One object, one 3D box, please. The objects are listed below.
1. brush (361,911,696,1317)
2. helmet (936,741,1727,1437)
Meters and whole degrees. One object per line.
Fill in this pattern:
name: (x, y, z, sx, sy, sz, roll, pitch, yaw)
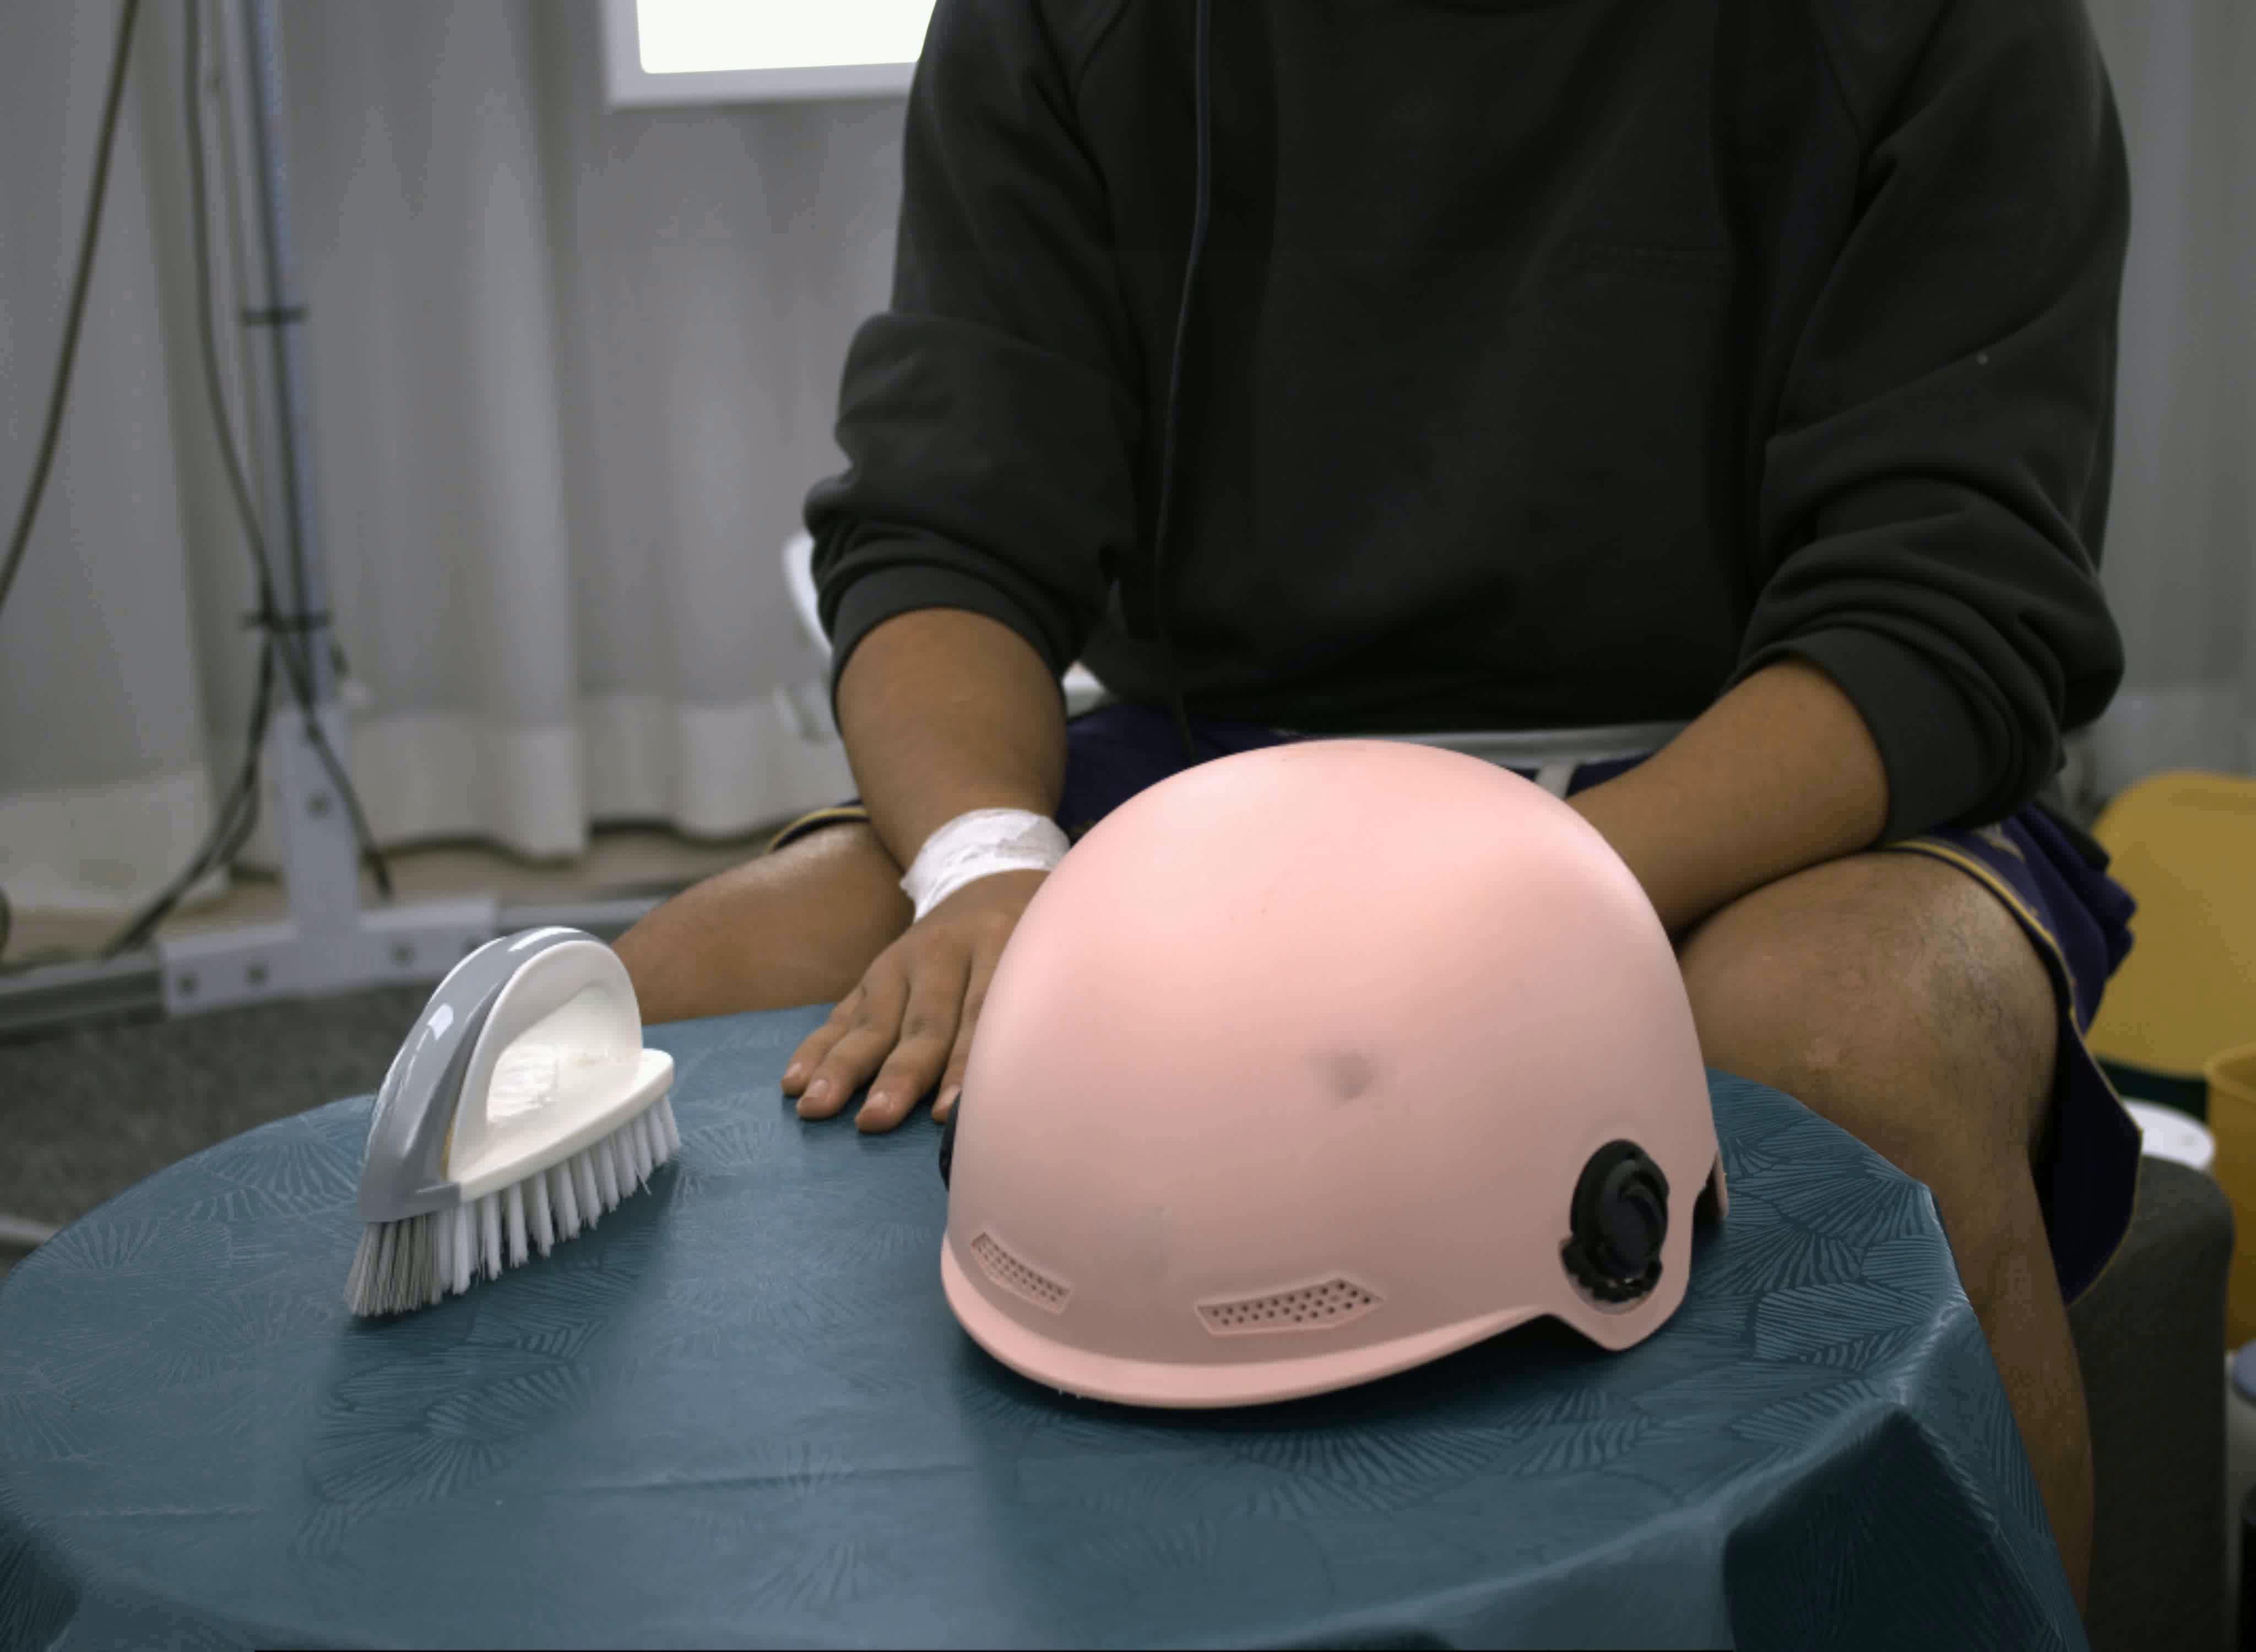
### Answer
brush: (-0.194, 0.084, 1.694, 0.061, 0.094, 0.176, 1, 17, 21)
helmet: (0.056, 0.063, 1.610, 0.234, 0.158, 0.267, 5, 20, 28)
